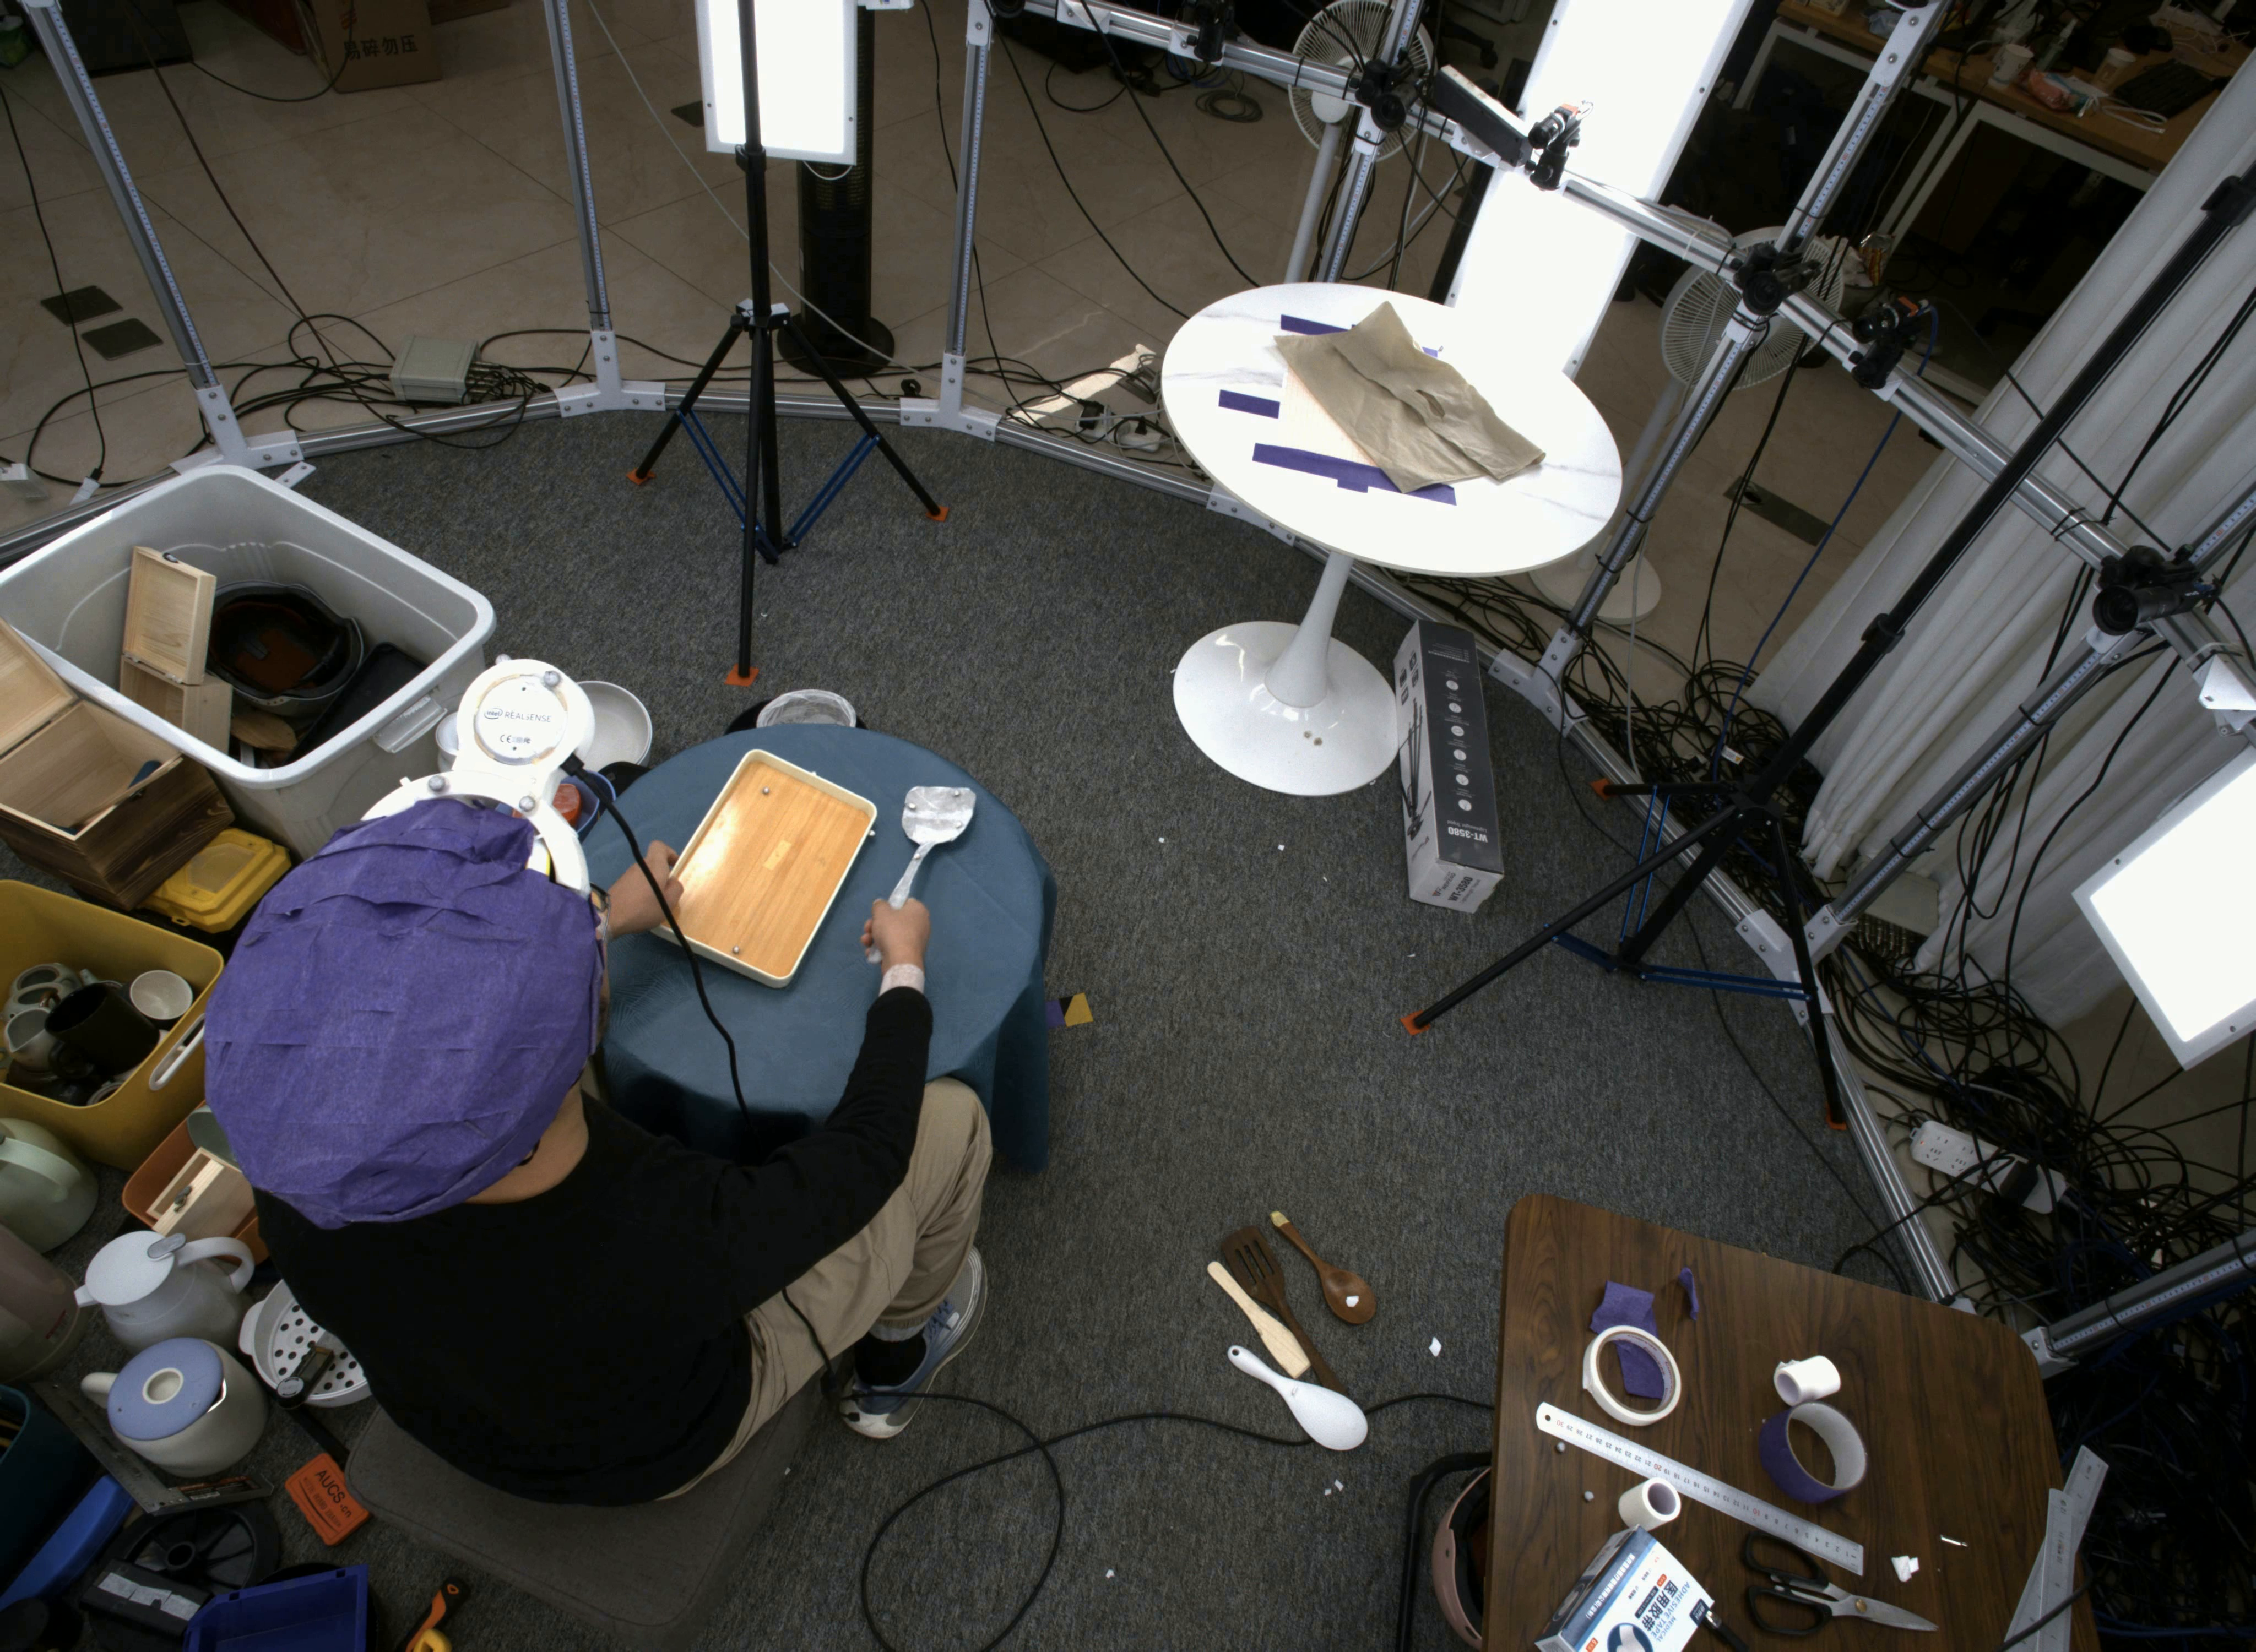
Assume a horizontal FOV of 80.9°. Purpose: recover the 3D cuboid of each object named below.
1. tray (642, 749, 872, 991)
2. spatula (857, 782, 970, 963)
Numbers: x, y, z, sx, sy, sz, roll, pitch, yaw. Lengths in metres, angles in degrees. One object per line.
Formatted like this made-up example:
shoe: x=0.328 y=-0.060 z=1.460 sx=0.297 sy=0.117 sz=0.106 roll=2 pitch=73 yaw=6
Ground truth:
tray: x=-0.463 y=0.048 z=1.633 sx=0.192 sy=0.027 sz=0.297 roll=26 pitch=51 yaw=-9
spatula: x=-0.282 y=0.049 z=1.647 sx=0.097 sy=0.046 sz=0.359 roll=5 pitch=31 yaw=5
